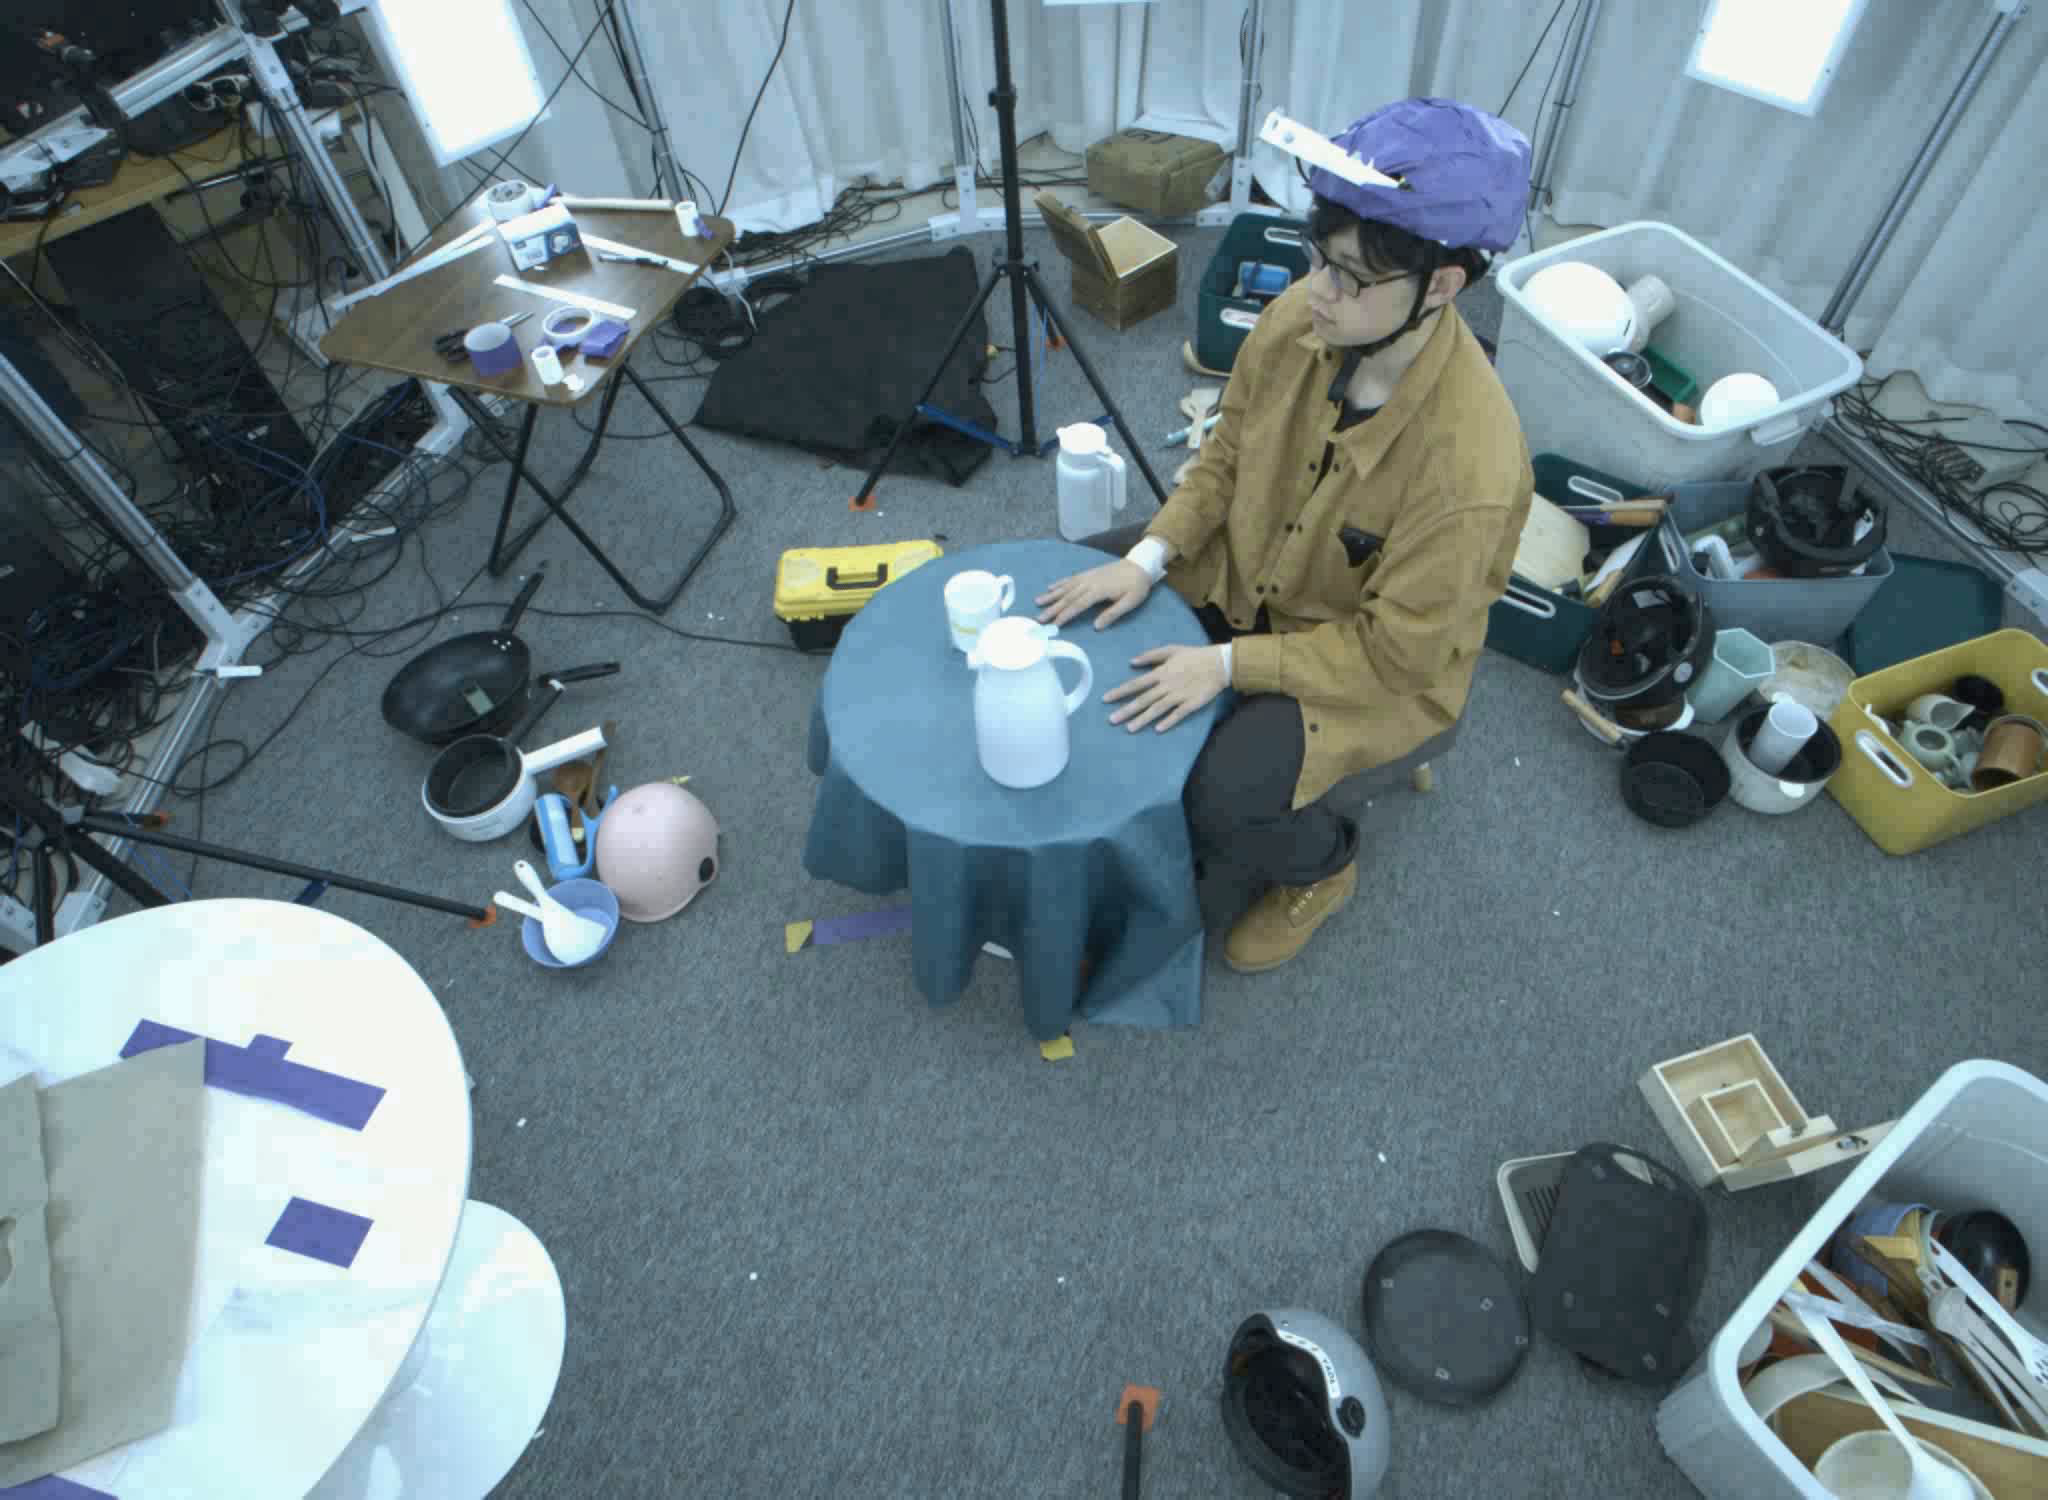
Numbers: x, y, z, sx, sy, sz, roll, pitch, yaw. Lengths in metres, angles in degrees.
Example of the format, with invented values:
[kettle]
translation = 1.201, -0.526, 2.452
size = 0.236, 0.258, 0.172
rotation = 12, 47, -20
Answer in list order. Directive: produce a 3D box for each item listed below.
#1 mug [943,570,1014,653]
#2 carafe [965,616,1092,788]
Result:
[mug]
translation = -0.064, -0.219, 1.877
size = 0.119, 0.103, 0.083
rotation = -38, 61, -22
[carafe]
translation = 0.010, -0.076, 1.684
size = 0.168, 0.251, 0.130
rotation = -14, 54, -7
